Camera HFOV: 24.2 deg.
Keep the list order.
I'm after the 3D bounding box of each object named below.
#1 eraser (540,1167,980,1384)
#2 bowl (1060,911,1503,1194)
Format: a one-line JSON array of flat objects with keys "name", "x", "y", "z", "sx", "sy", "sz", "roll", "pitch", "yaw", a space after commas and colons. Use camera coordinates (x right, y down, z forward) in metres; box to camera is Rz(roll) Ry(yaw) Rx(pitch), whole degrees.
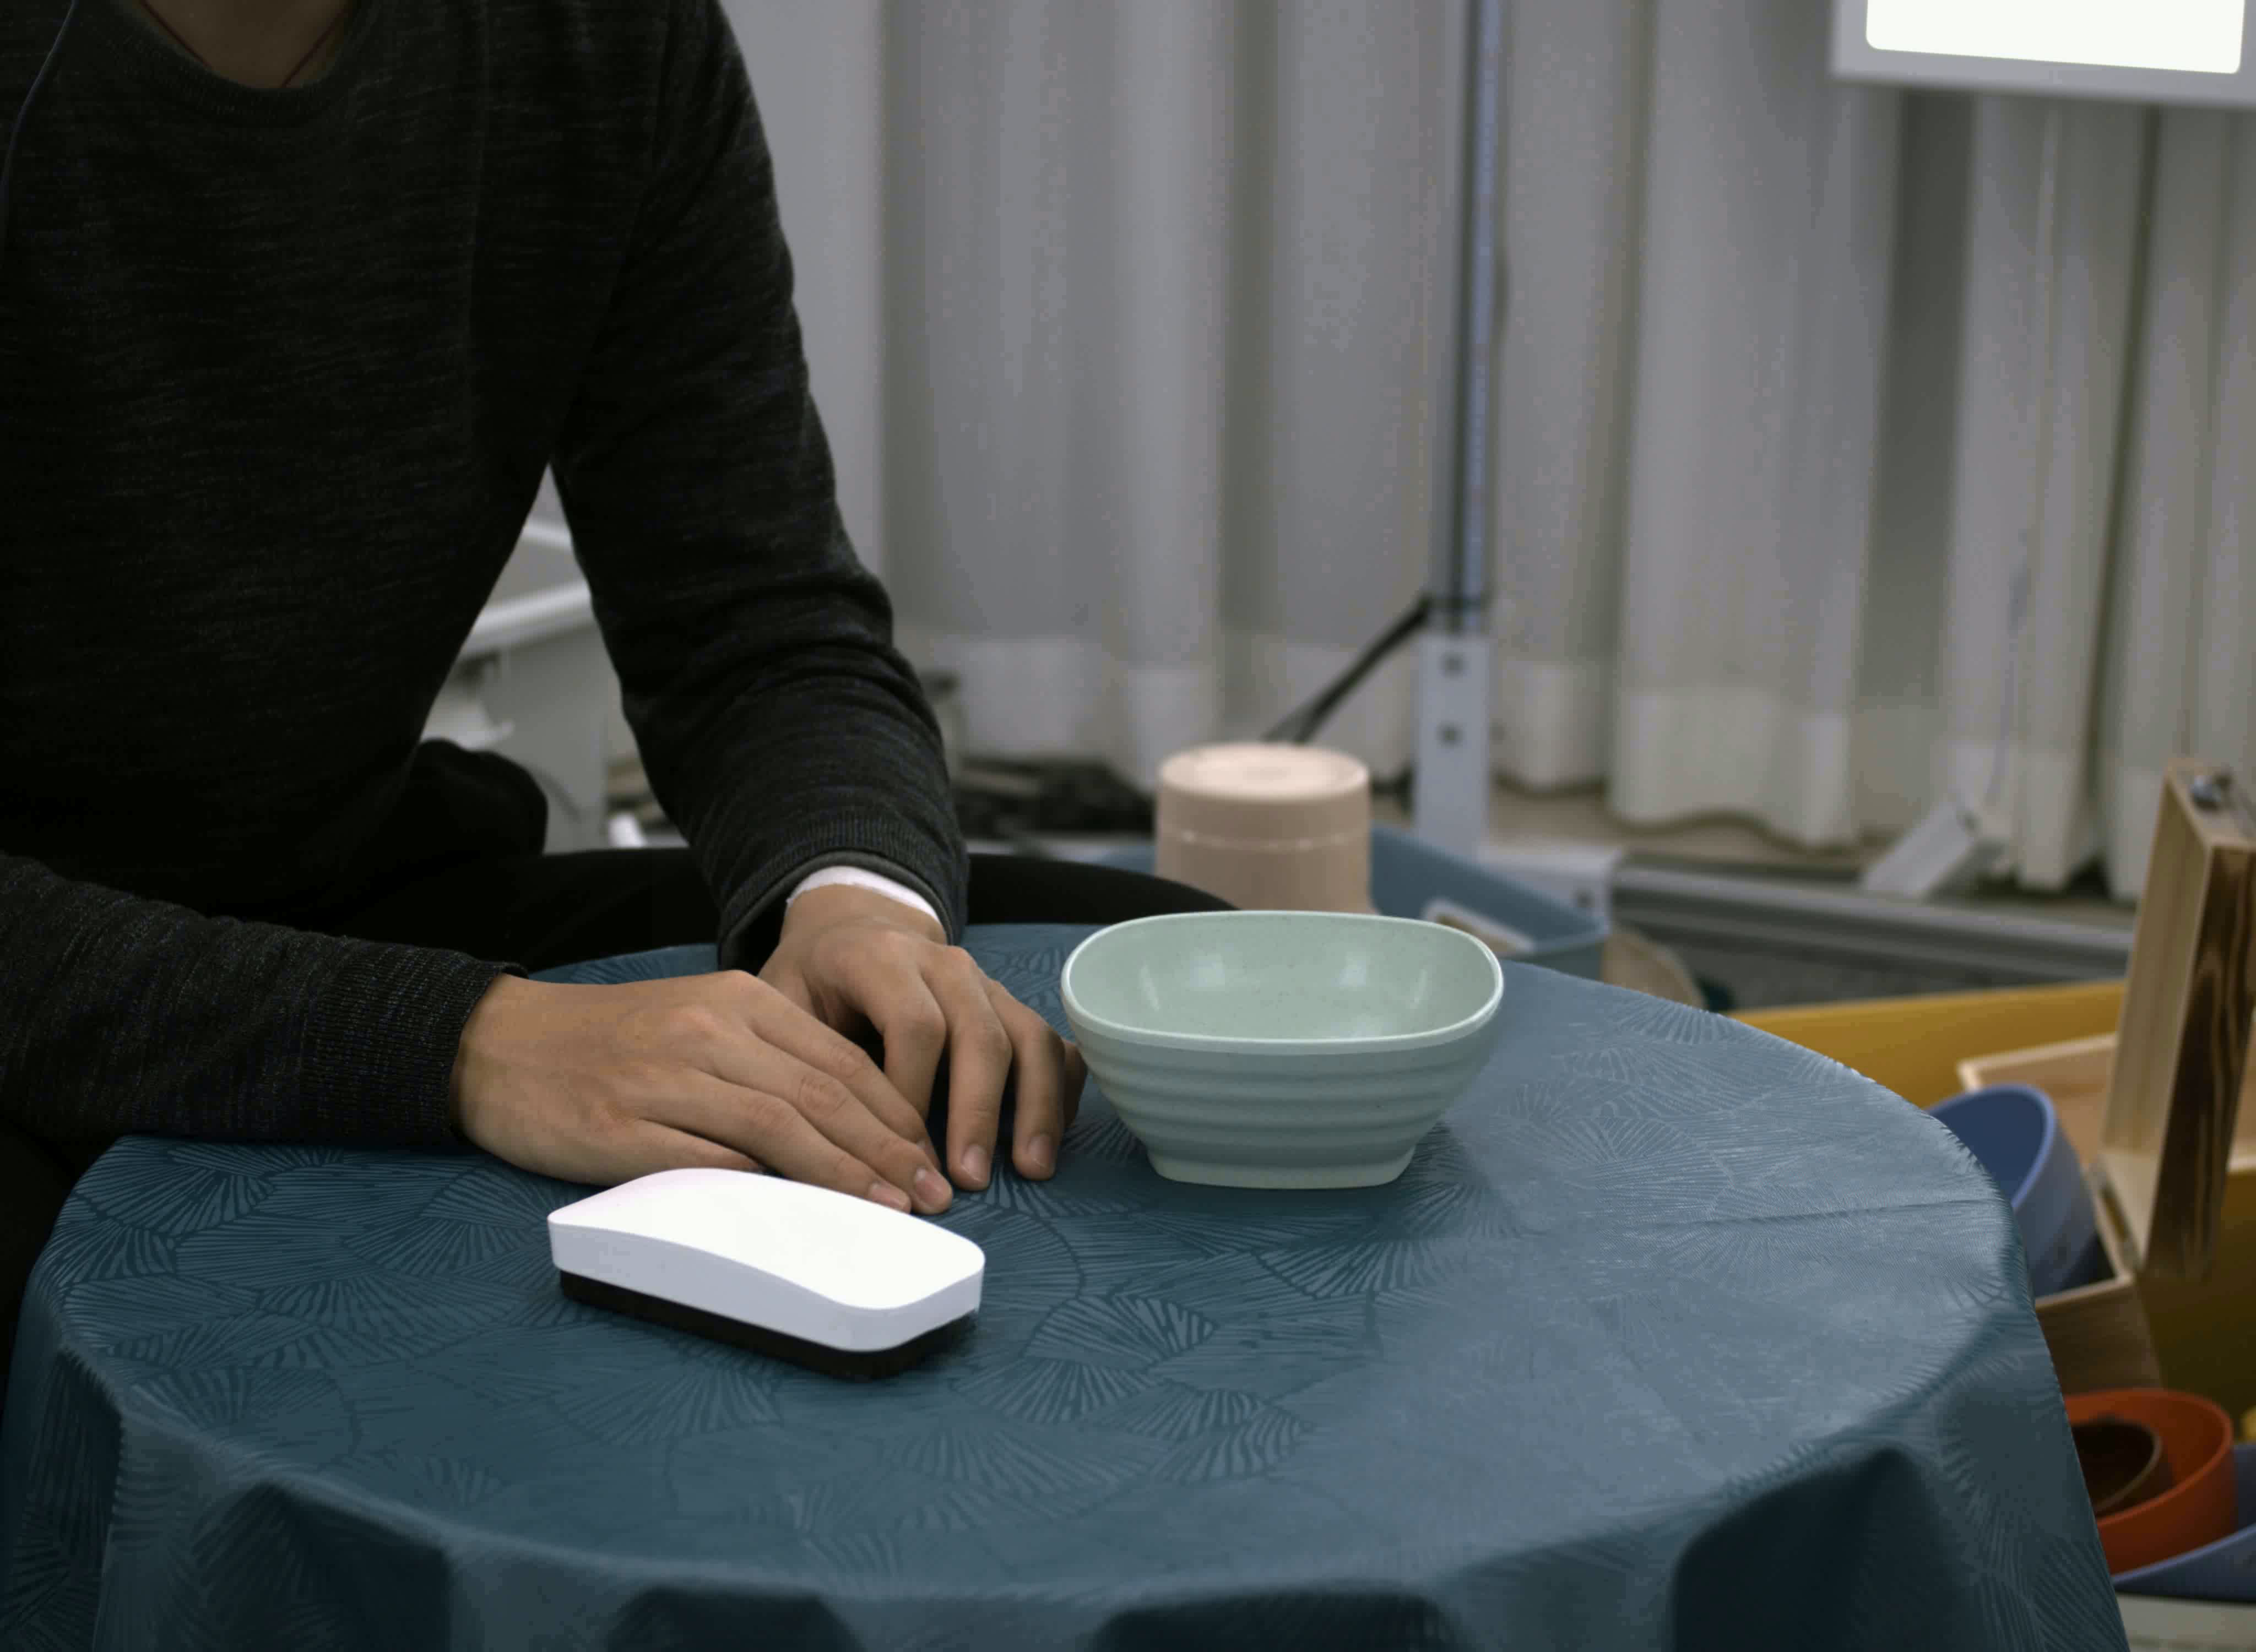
[{"name": "eraser", "x": -0.106, "y": 0.125, "z": 1.512, "sx": 0.129, "sy": 0.035, "sz": 0.064, "roll": 13, "pitch": 18, "yaw": 35}, {"name": "bowl", "x": 0.047, "y": 0.074, "z": 1.656, "sx": 0.151, "sy": 0.059, "sz": 0.150, "roll": 2, "pitch": 16, "yaw": 0}]
